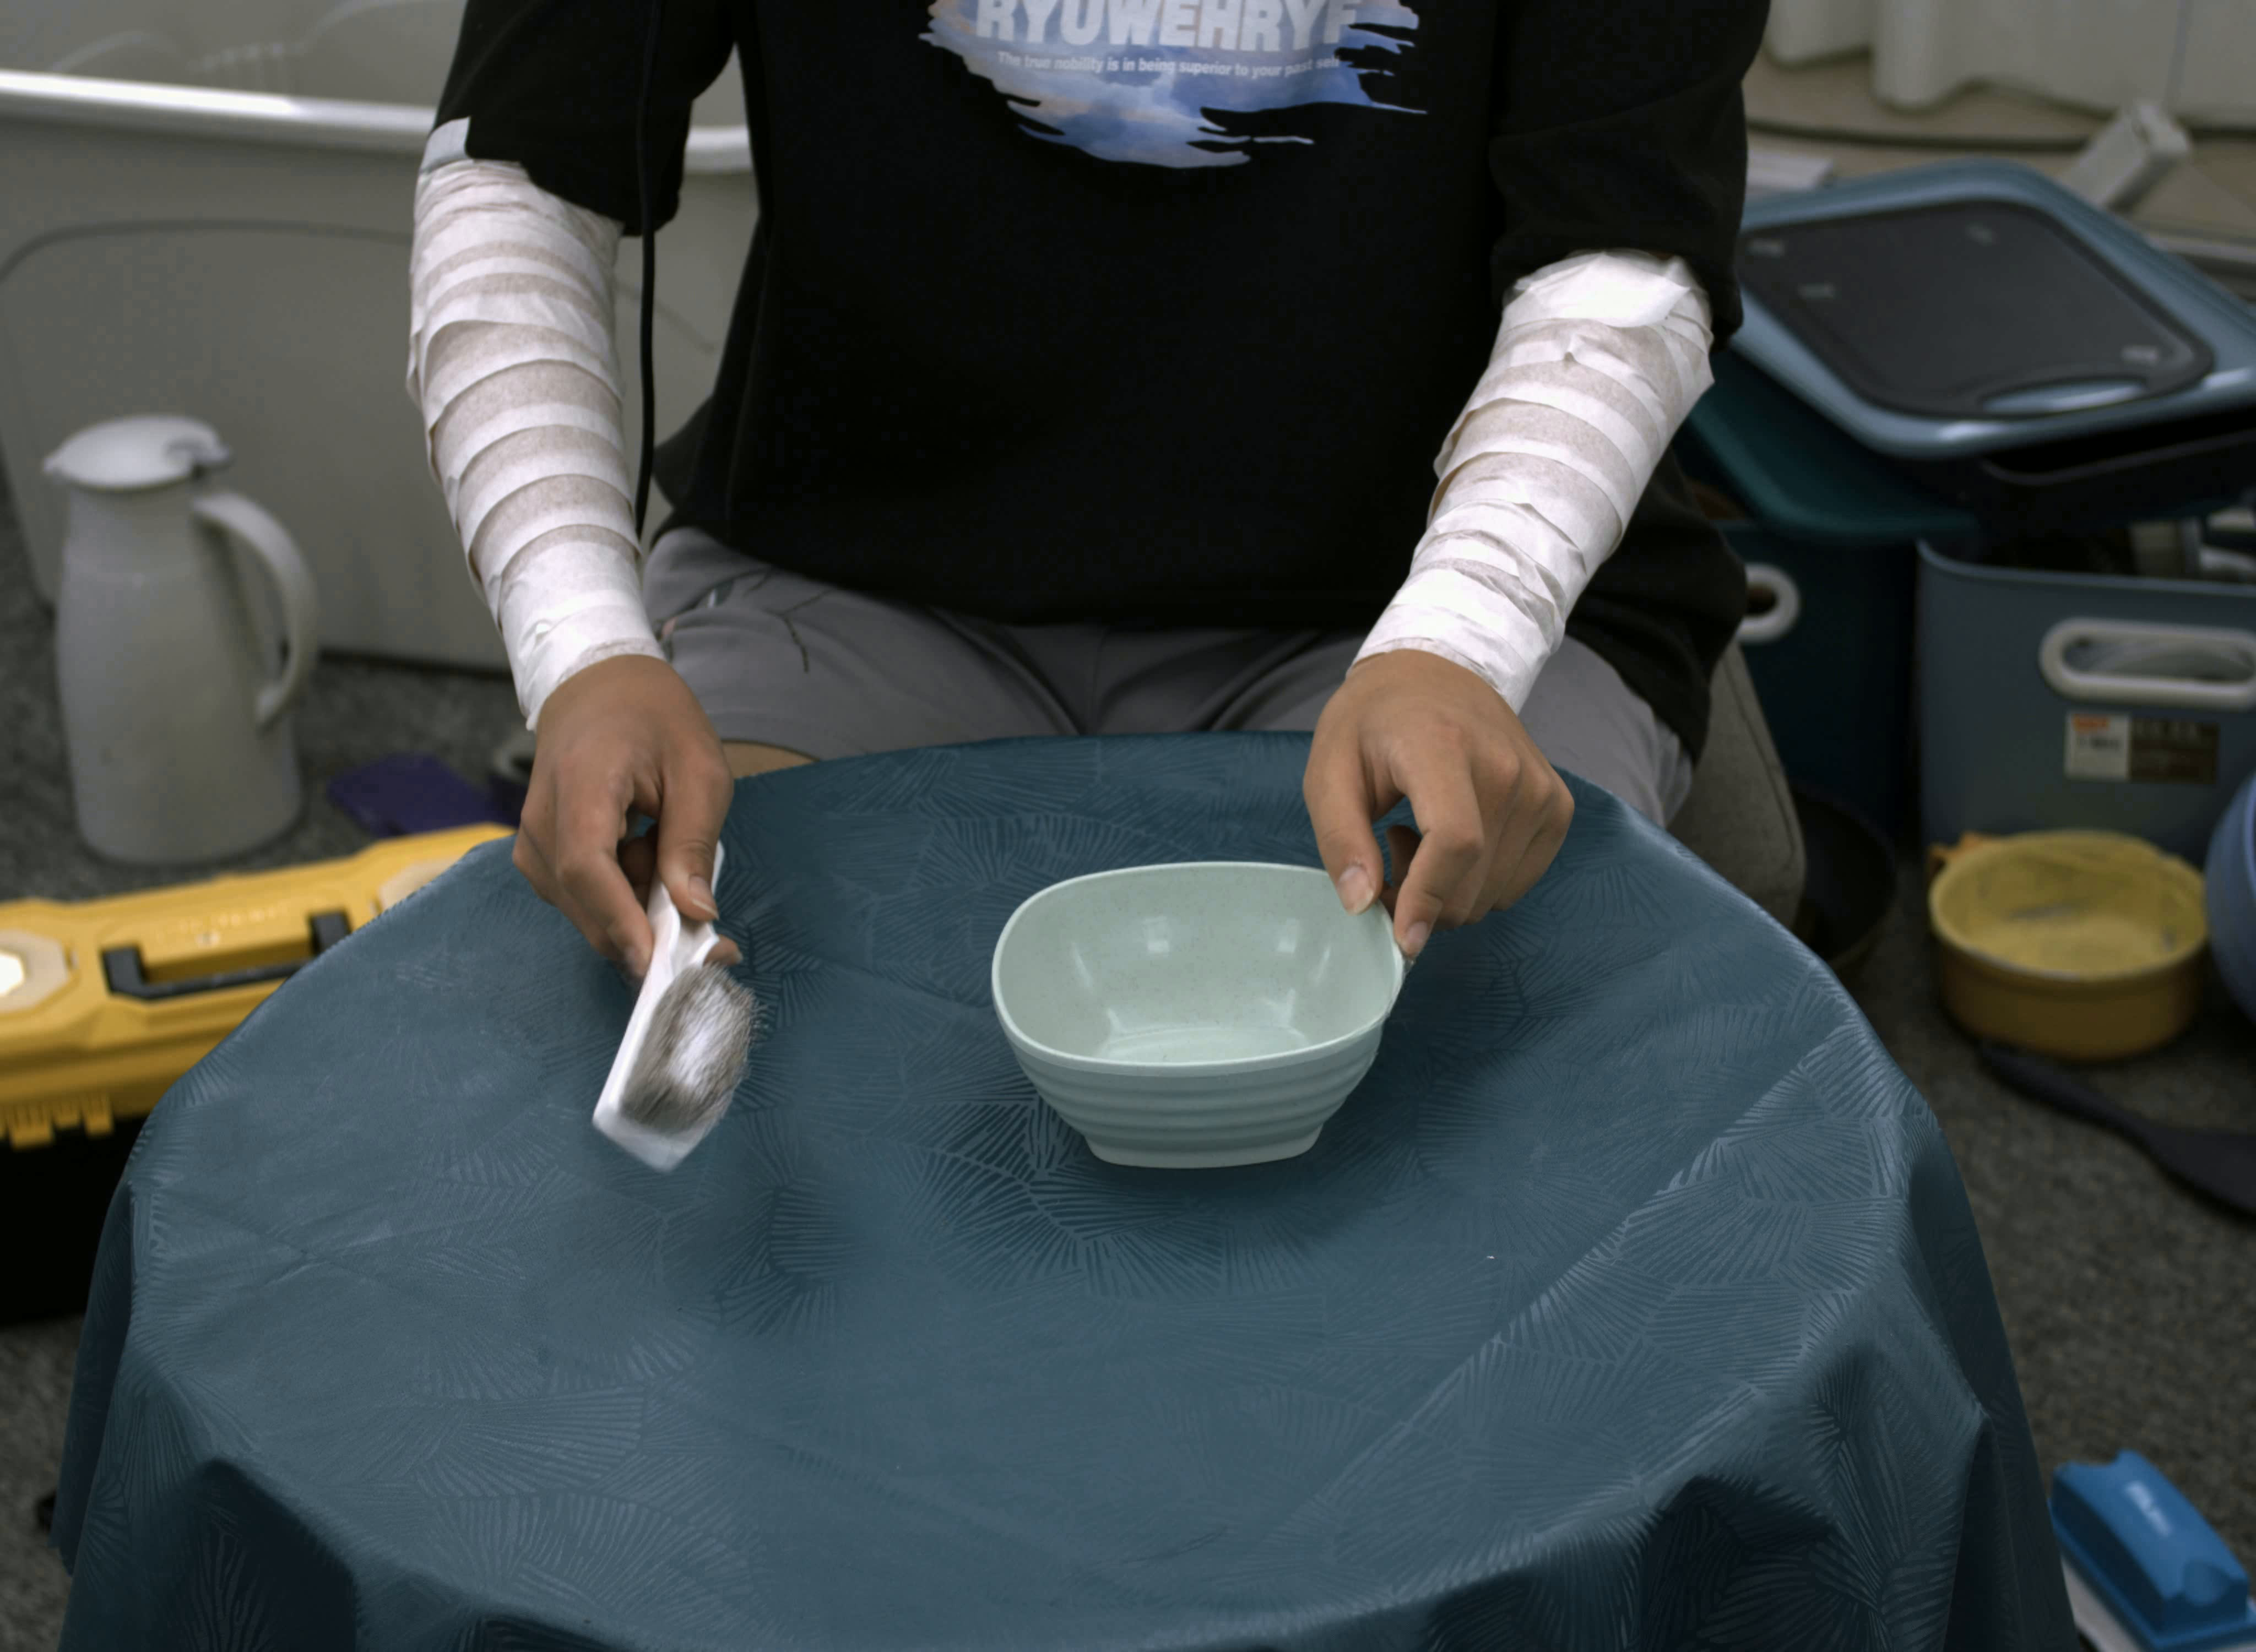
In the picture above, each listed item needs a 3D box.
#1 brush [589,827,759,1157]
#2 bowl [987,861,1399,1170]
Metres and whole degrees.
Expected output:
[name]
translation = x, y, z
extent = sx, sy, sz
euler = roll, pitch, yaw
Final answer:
[brush]
translation = -0.142, 0.041, 1.906
extent = 0.034, 0.050, 0.247
euler = 38, 20, -12
[bowl]
translation = 0.022, 0.070, 1.899
extent = 0.151, 0.058, 0.154
euler = -1, 27, 1
